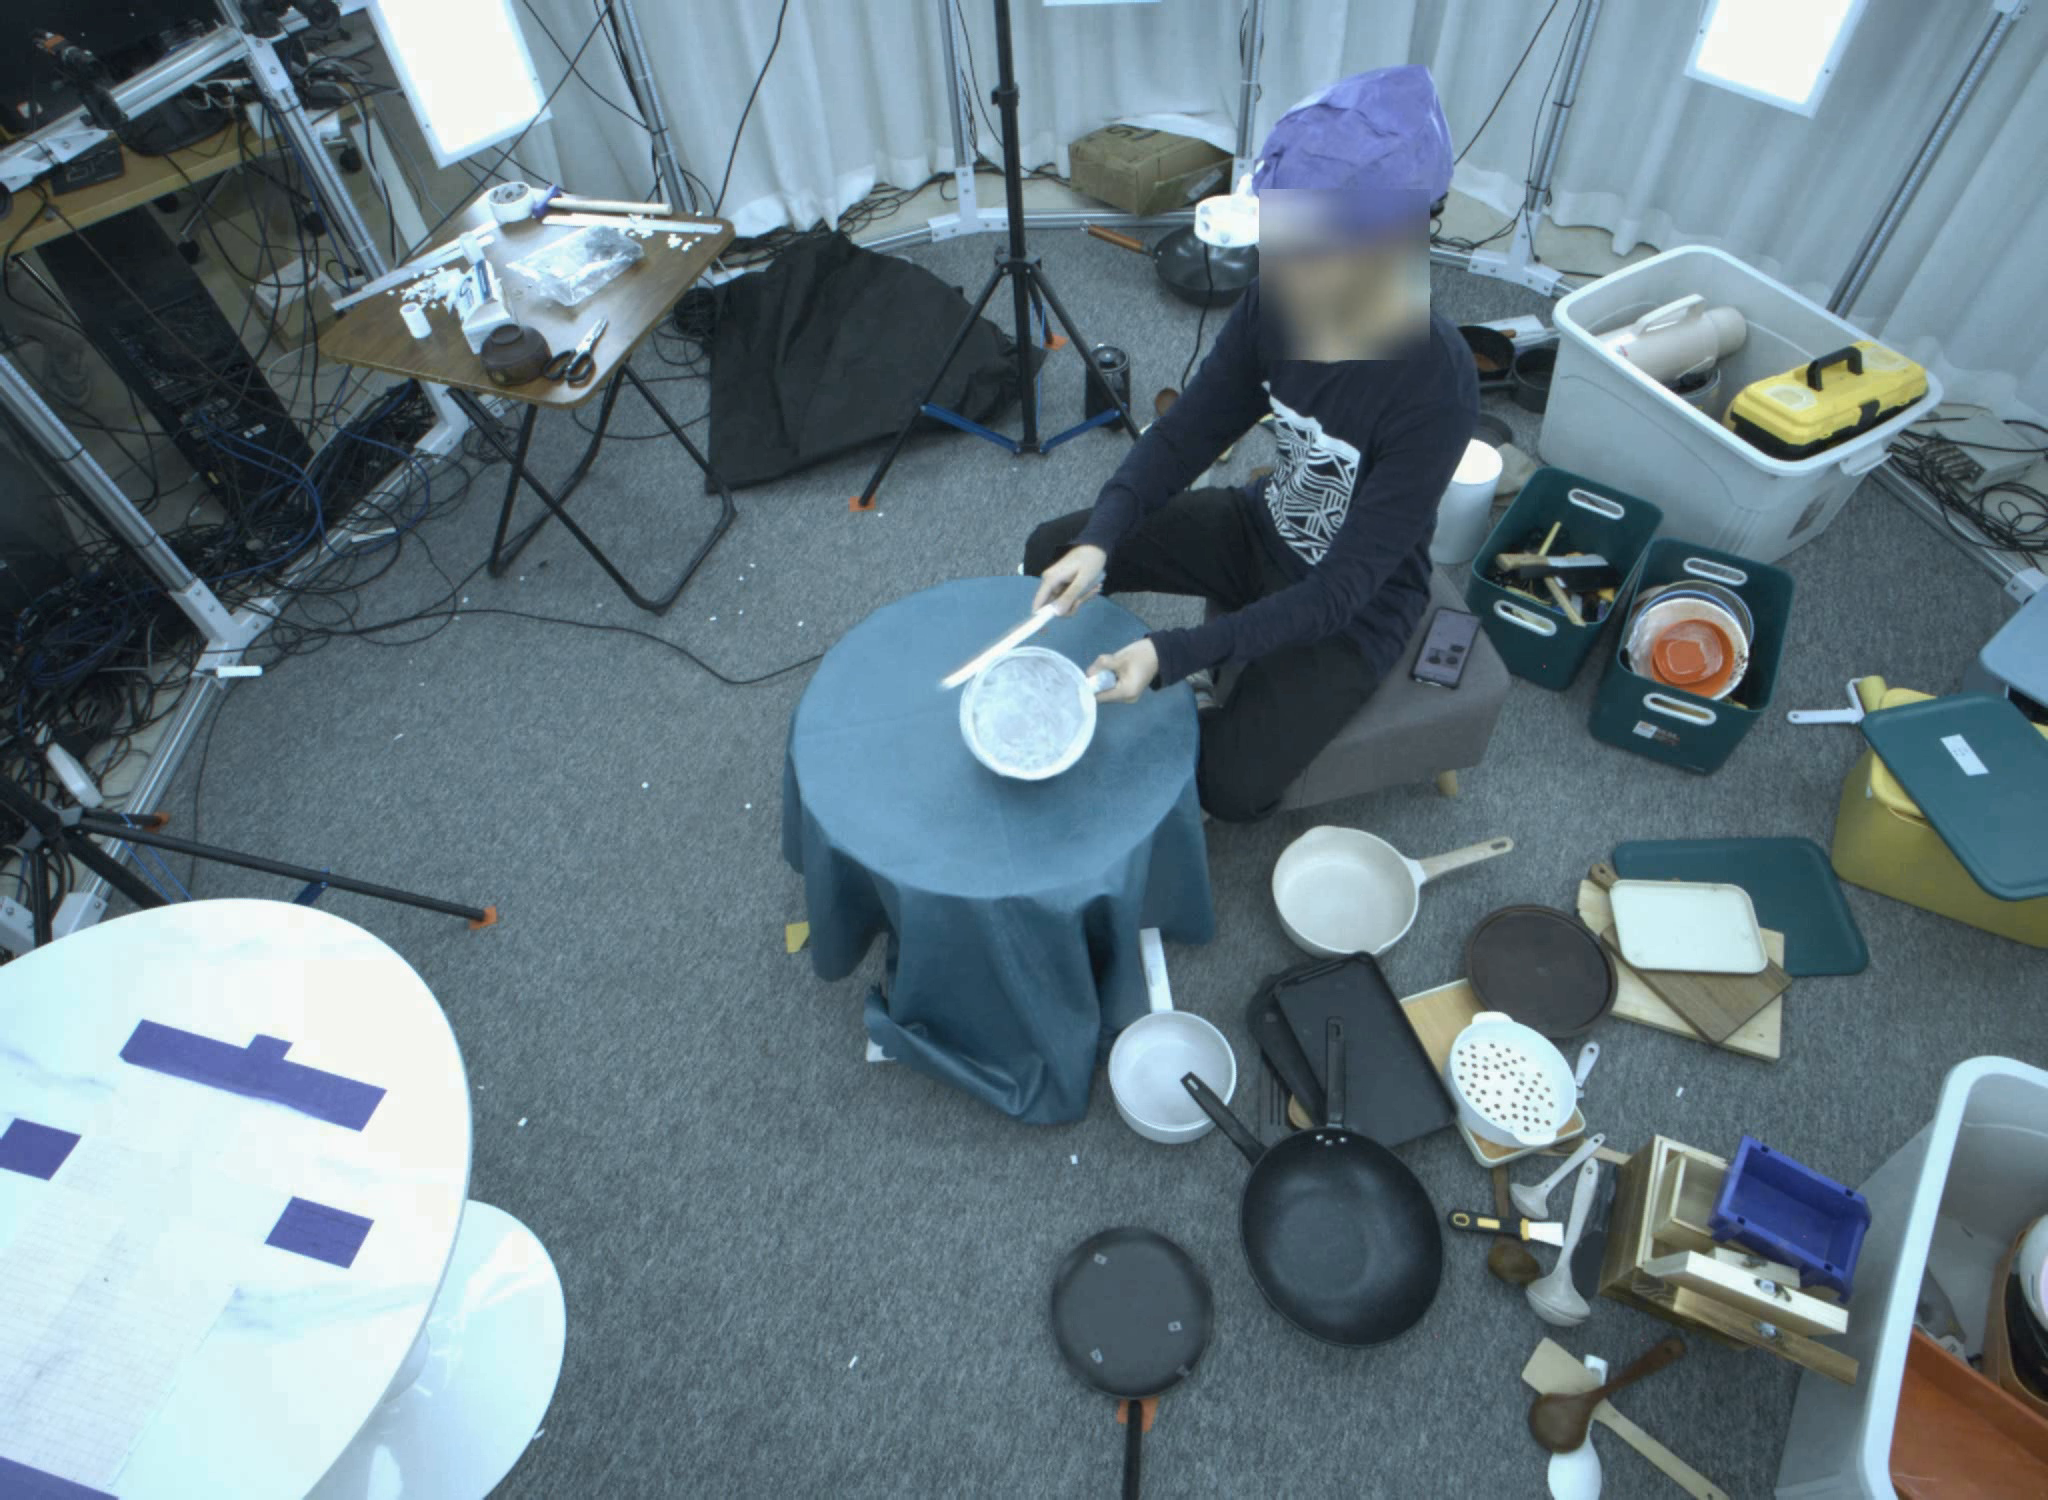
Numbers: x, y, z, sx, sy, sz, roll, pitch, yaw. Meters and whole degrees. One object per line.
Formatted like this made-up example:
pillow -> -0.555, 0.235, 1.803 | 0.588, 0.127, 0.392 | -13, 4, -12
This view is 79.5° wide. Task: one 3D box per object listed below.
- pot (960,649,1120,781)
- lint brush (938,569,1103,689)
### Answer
pot -> 0.027, -0.062, 1.704 | 0.234, 0.135, 0.179 | -25, 97, -6
lint brush -> 0.000, -0.172, 1.714 | 0.311, 0.059, 0.021 | -38, 97, -26
